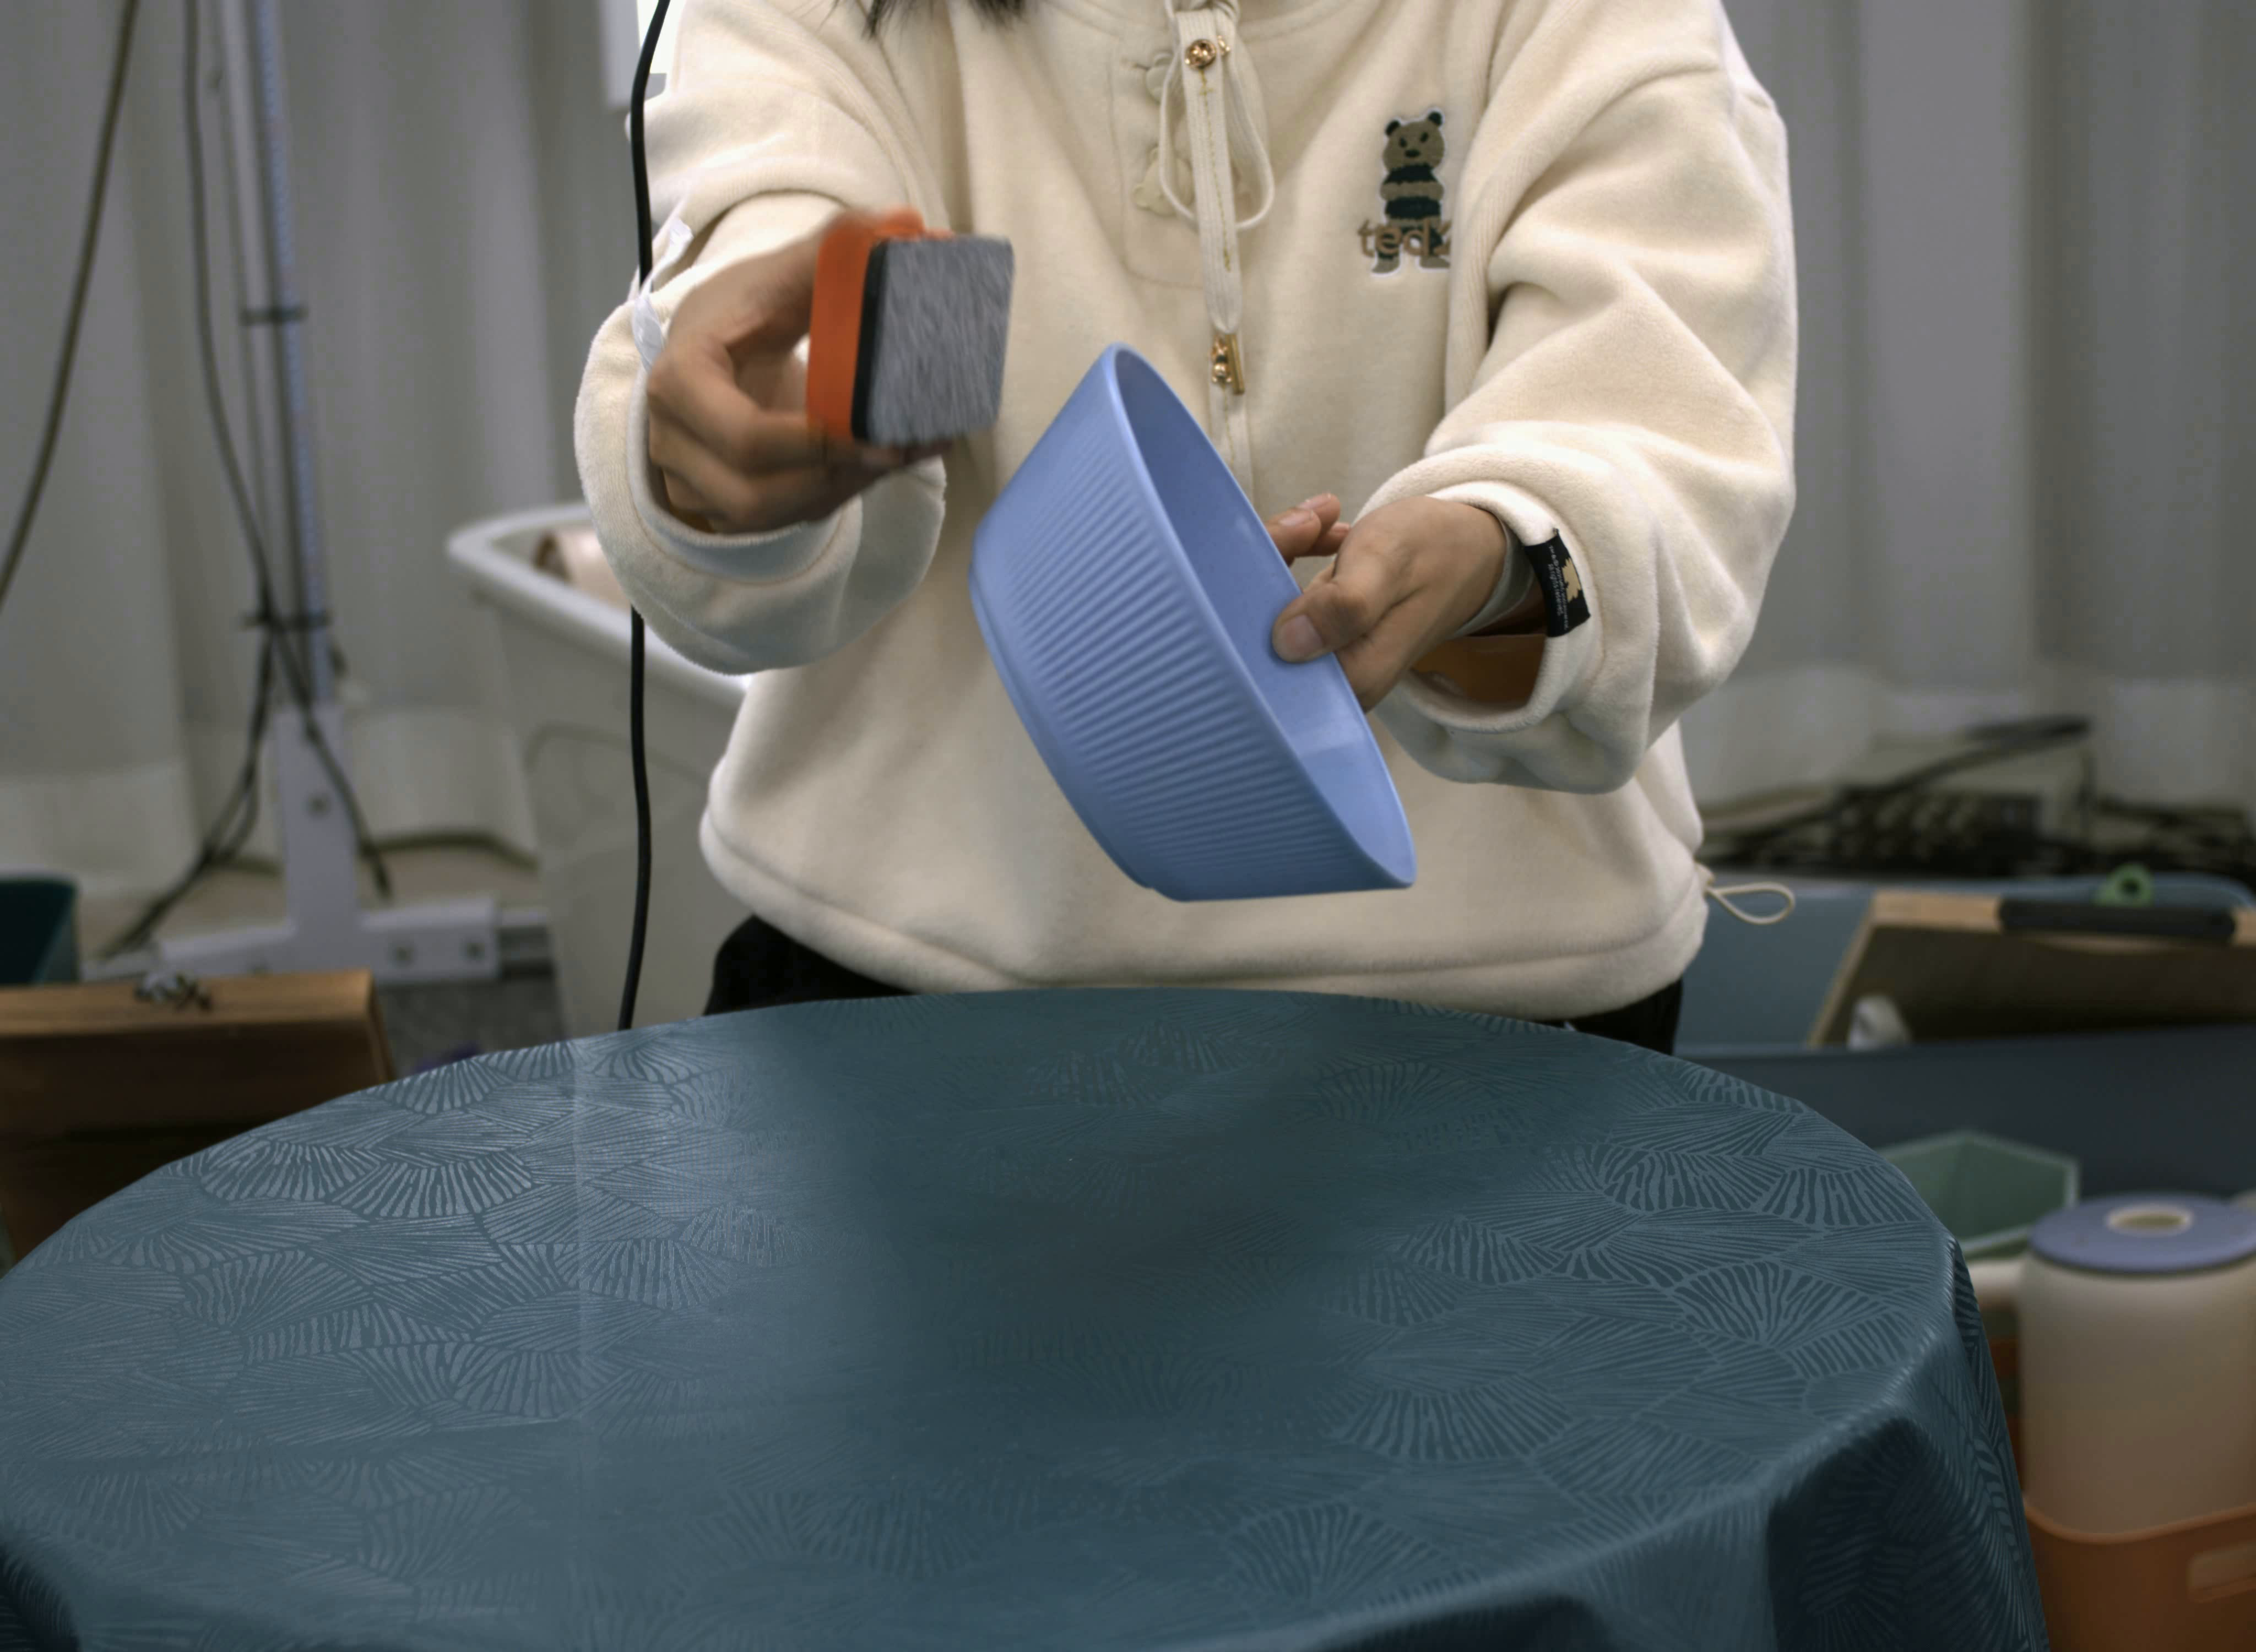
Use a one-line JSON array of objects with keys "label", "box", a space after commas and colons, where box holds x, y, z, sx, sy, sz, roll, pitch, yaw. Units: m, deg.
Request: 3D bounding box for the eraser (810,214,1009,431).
[{"label": "eraser", "box": [-0.062, -0.145, 1.564, 0.023, 0.059, 0.108, 5, 8, 17]}]

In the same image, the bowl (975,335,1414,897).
[{"label": "bowl", "box": [0.012, -0.047, 1.555, 0.070, 0.175, 0.177, -29, 12, 9]}]
